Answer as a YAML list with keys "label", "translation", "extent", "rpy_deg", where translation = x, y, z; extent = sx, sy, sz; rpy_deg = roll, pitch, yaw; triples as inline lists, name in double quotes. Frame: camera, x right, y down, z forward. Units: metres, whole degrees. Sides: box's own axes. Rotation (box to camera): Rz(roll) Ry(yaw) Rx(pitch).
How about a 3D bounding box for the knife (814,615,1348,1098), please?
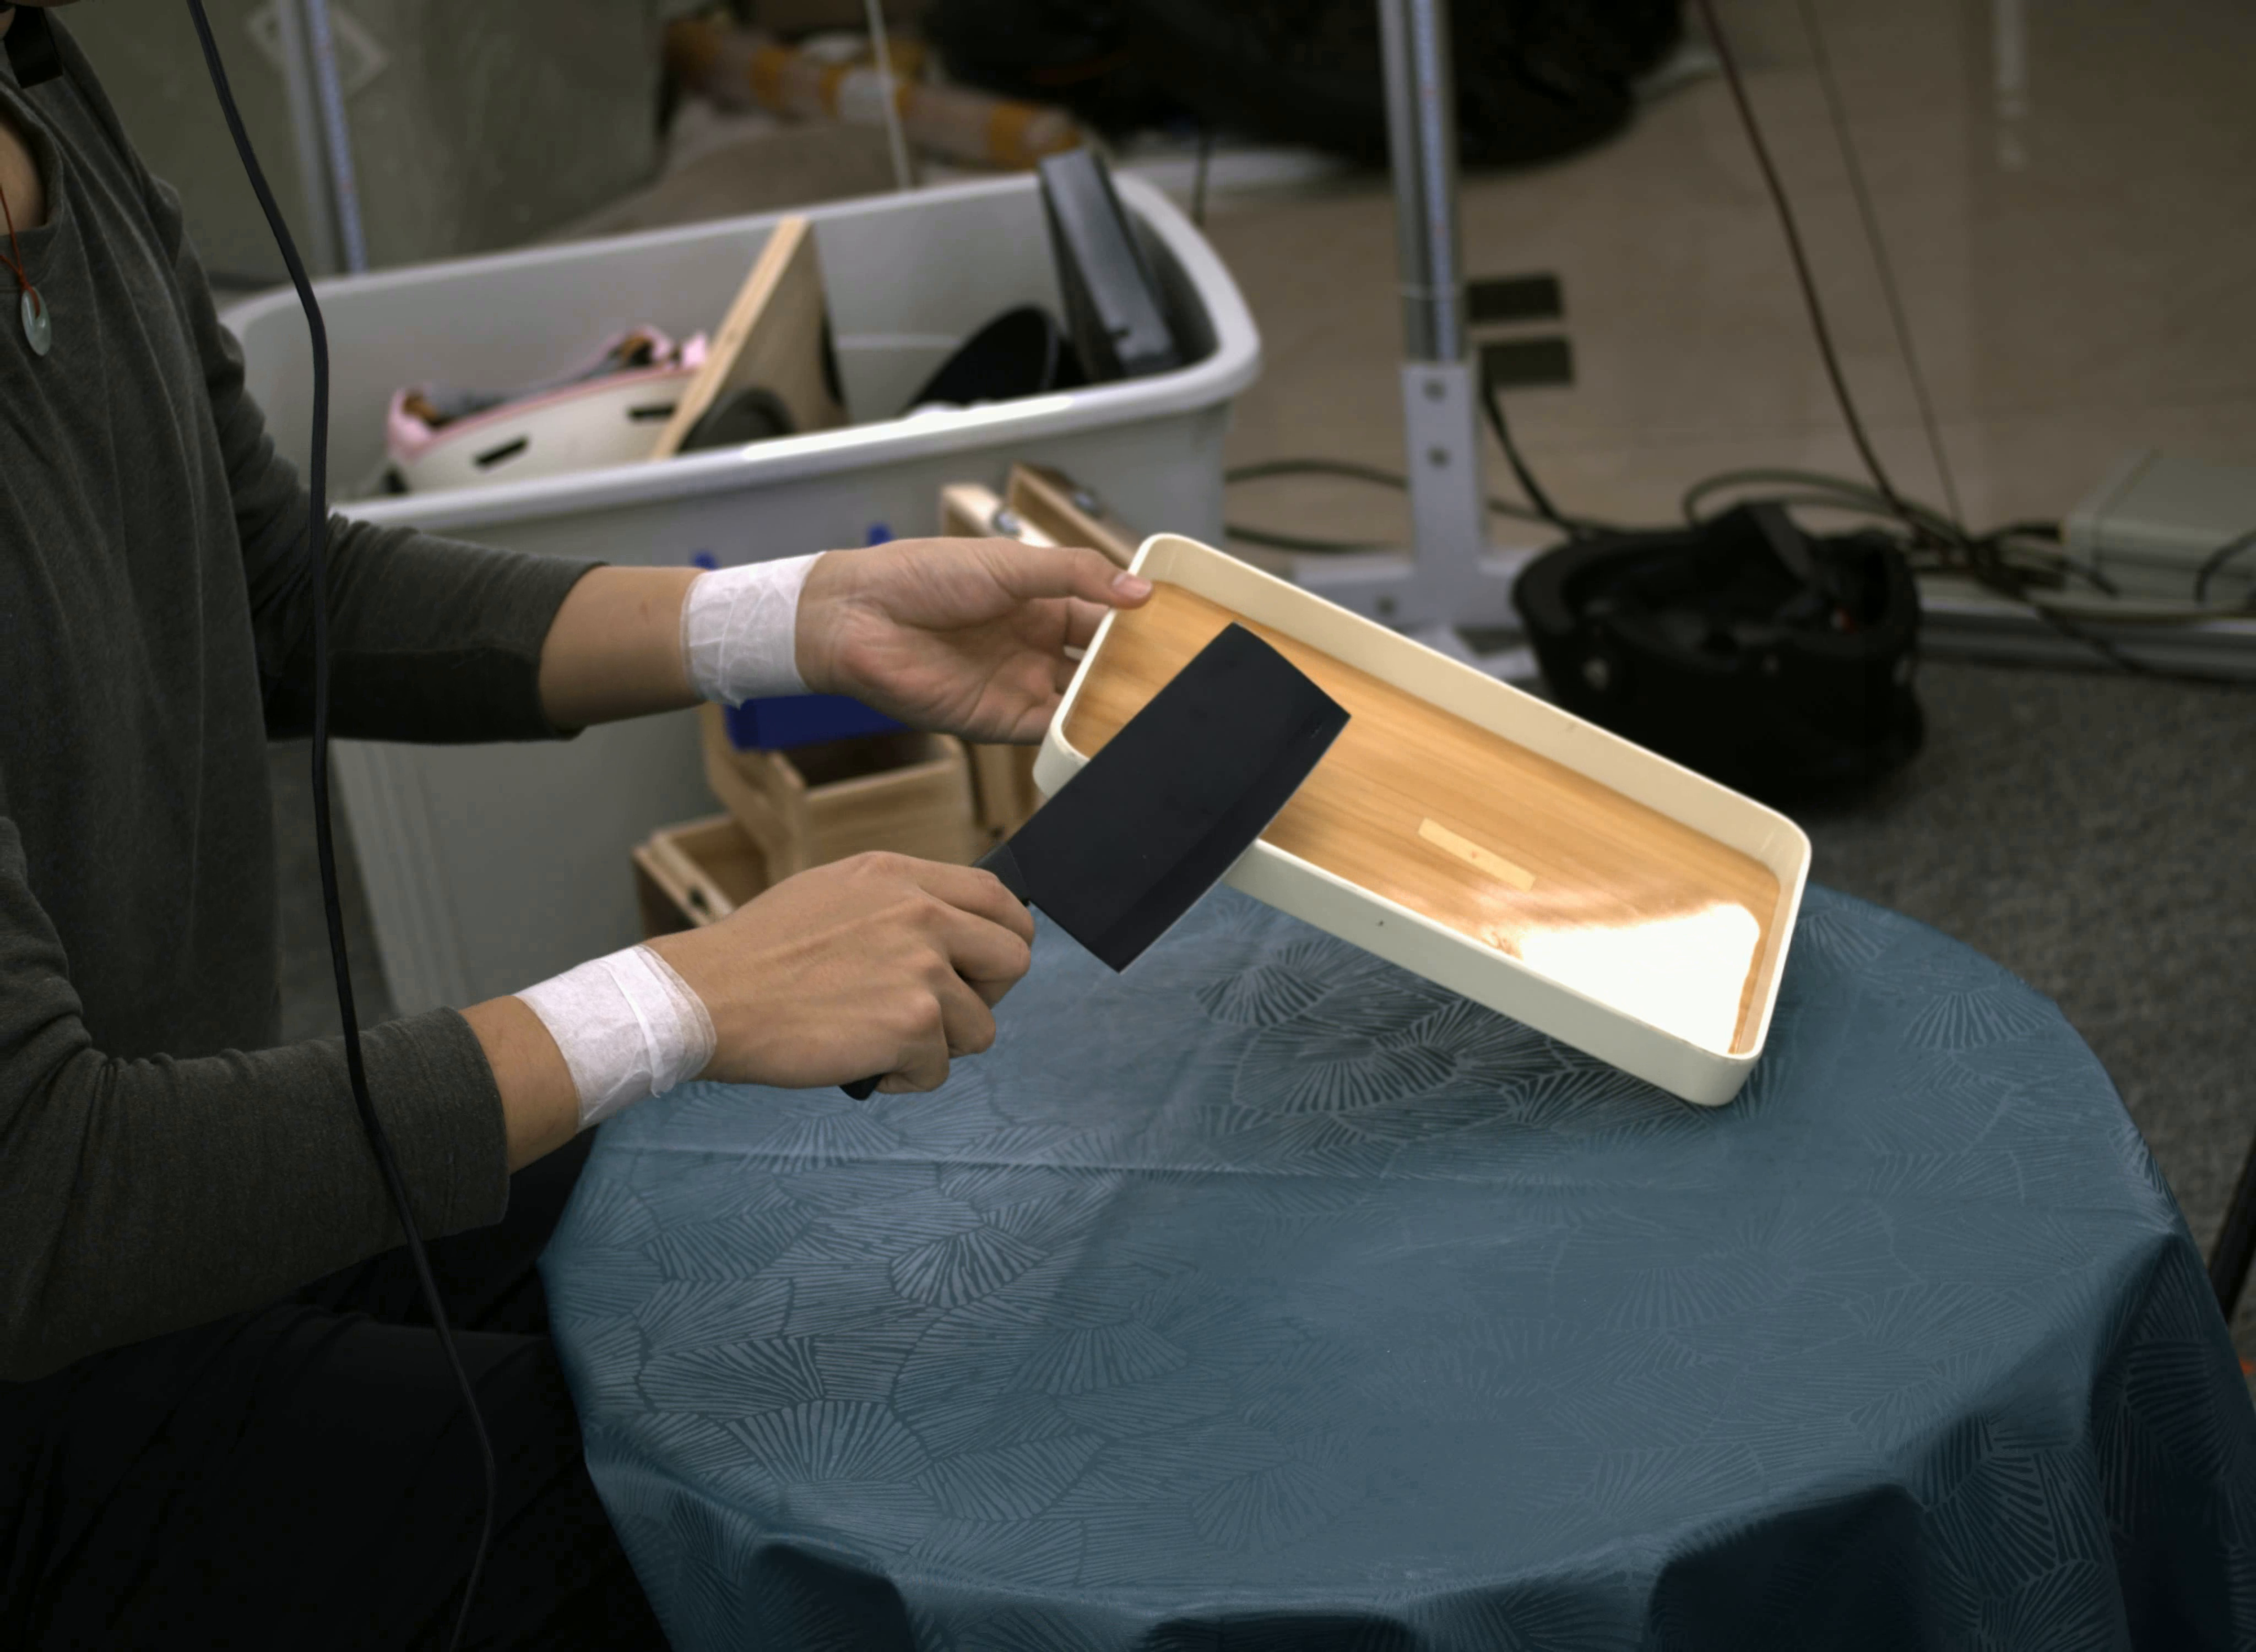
- label: "knife"
  translation: [-0.016, 0.013, 2.098]
  extent: [0.080, 0.021, 0.299]
  rpy_deg: [44, 49, 8]

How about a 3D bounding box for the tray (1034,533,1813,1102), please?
- label: "tray"
  translation: [0.119, -0.006, 2.224]
  extent: [0.300, 0.028, 0.188]
  rpy_deg: [25, 32, -1]
